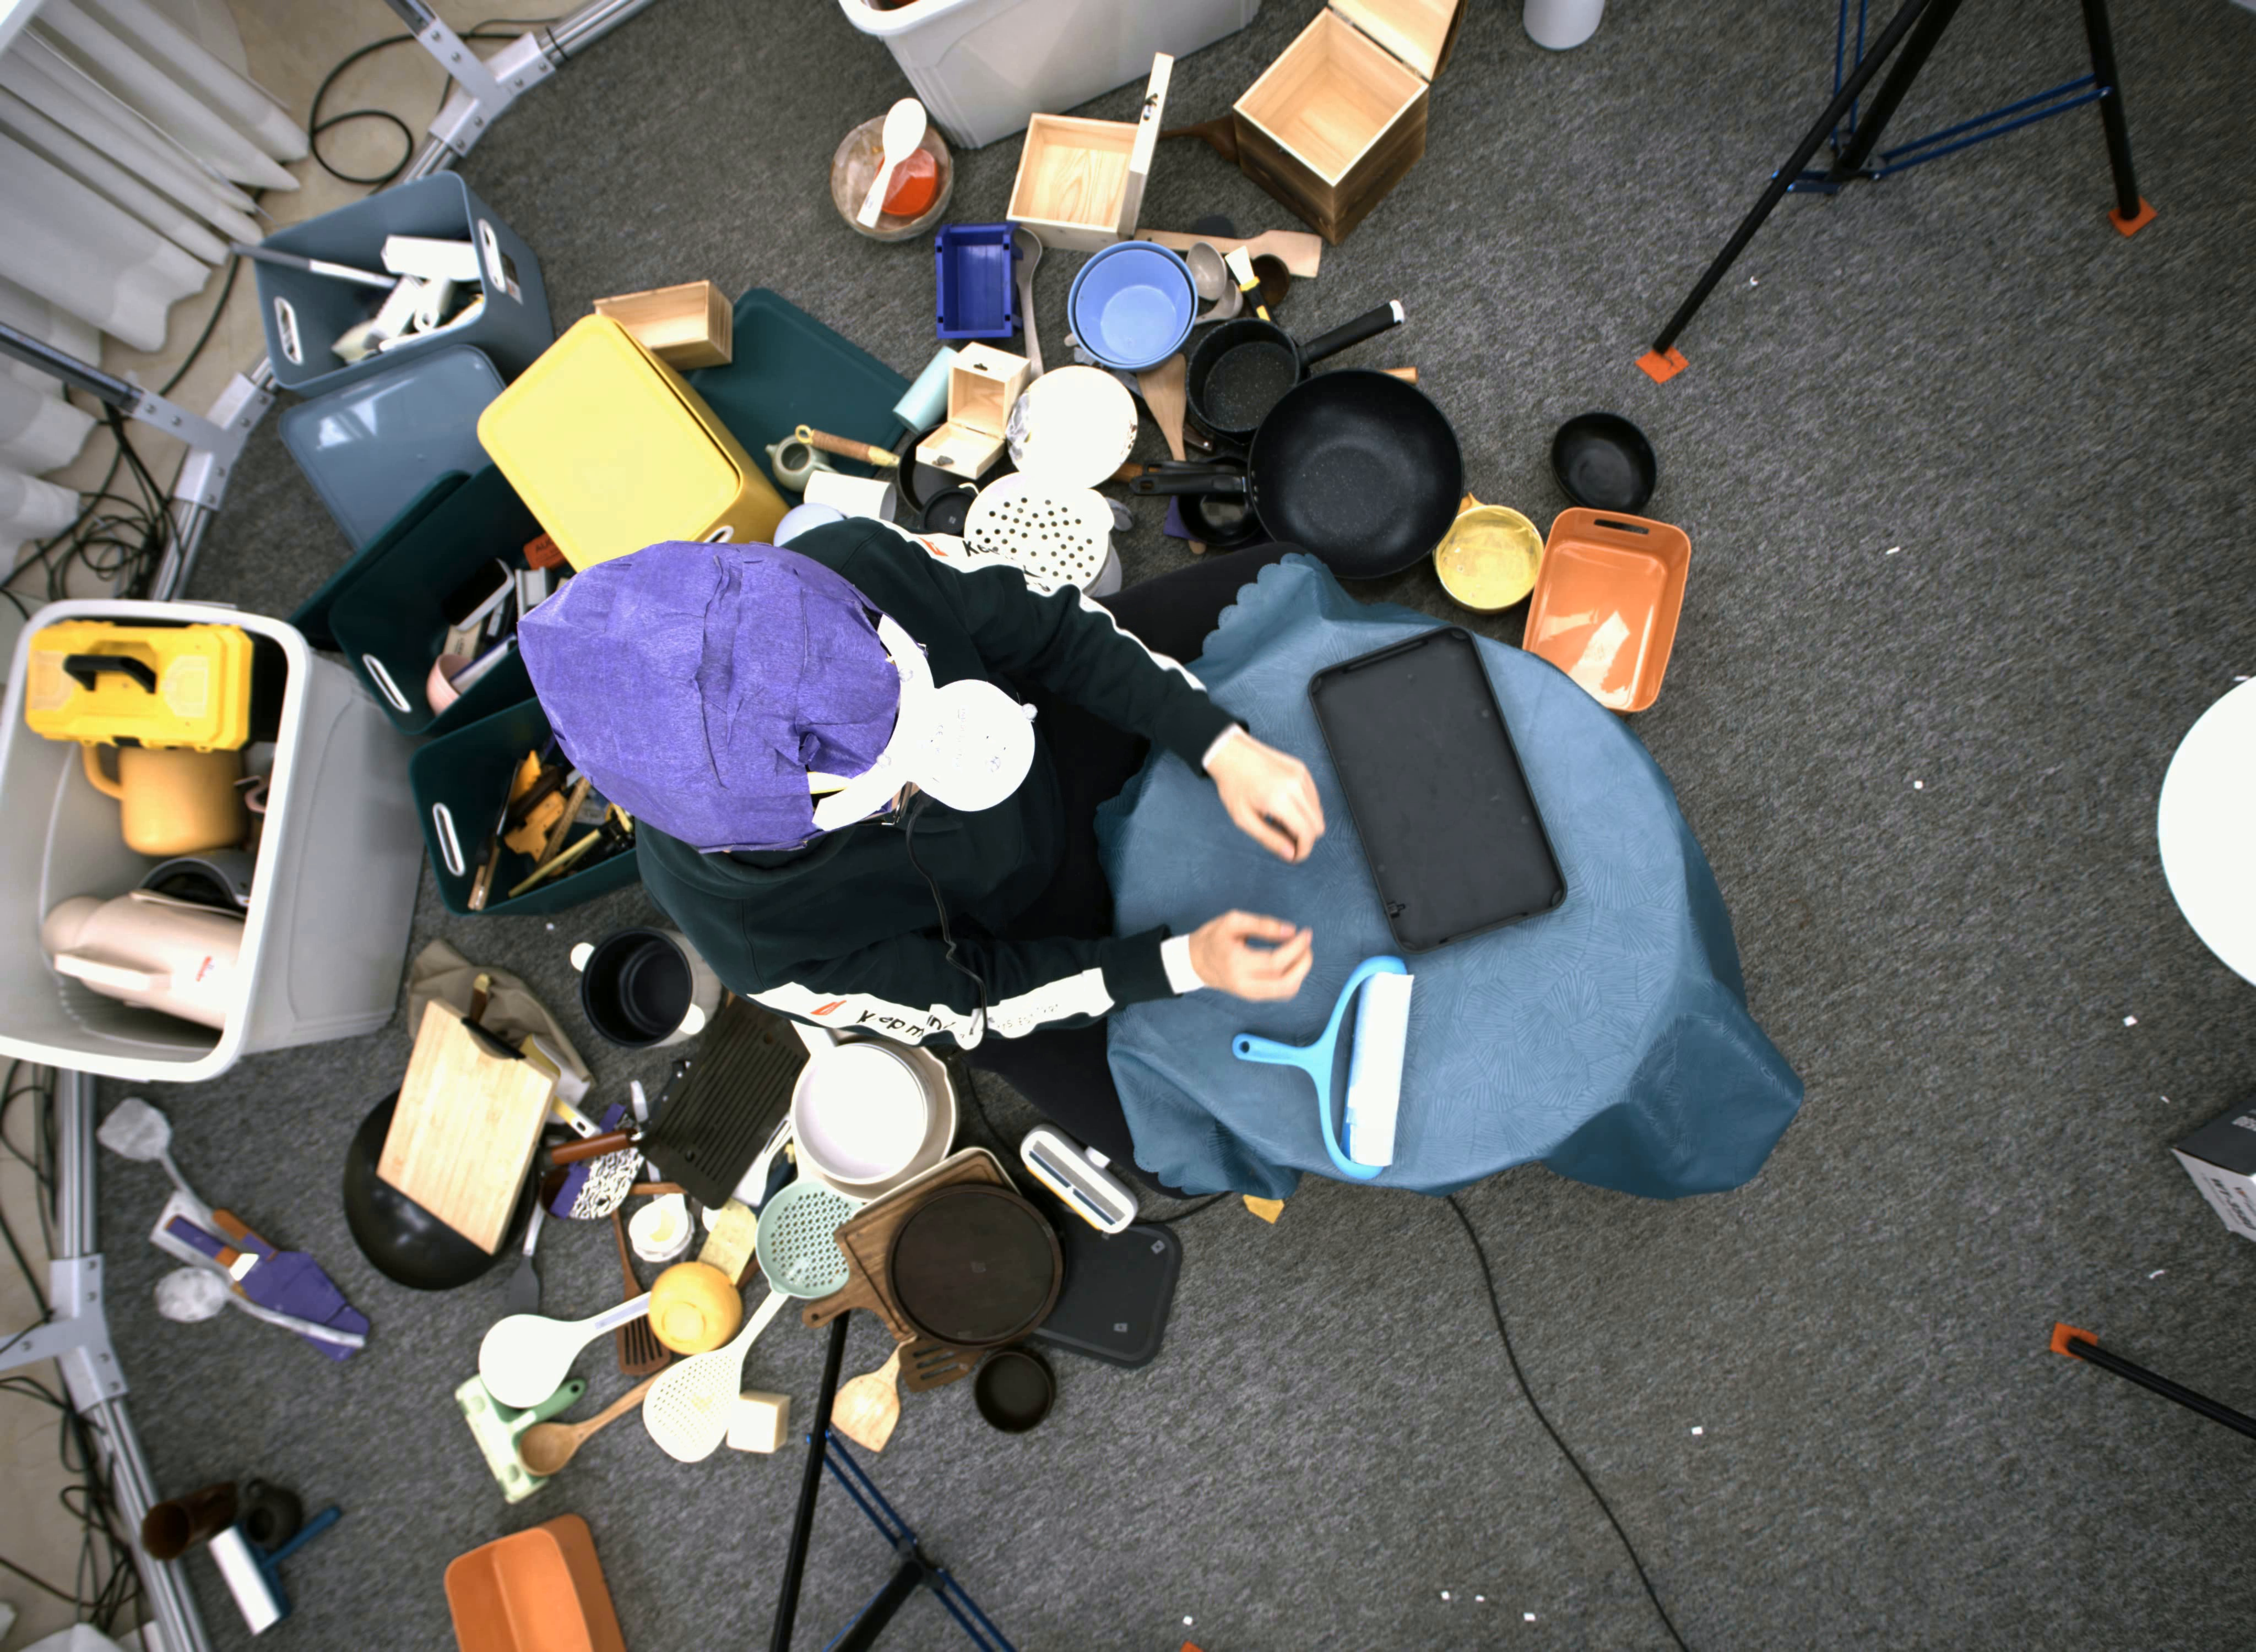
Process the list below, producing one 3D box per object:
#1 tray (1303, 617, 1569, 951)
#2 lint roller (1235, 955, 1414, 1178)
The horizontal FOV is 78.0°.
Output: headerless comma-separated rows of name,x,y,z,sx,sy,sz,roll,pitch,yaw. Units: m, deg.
tray,0.319,-0.045,1.435,0.185,0.037,0.316,-21,85,9
lint roller,0.198,0.241,1.431,0.181,0.068,0.228,4,90,9
